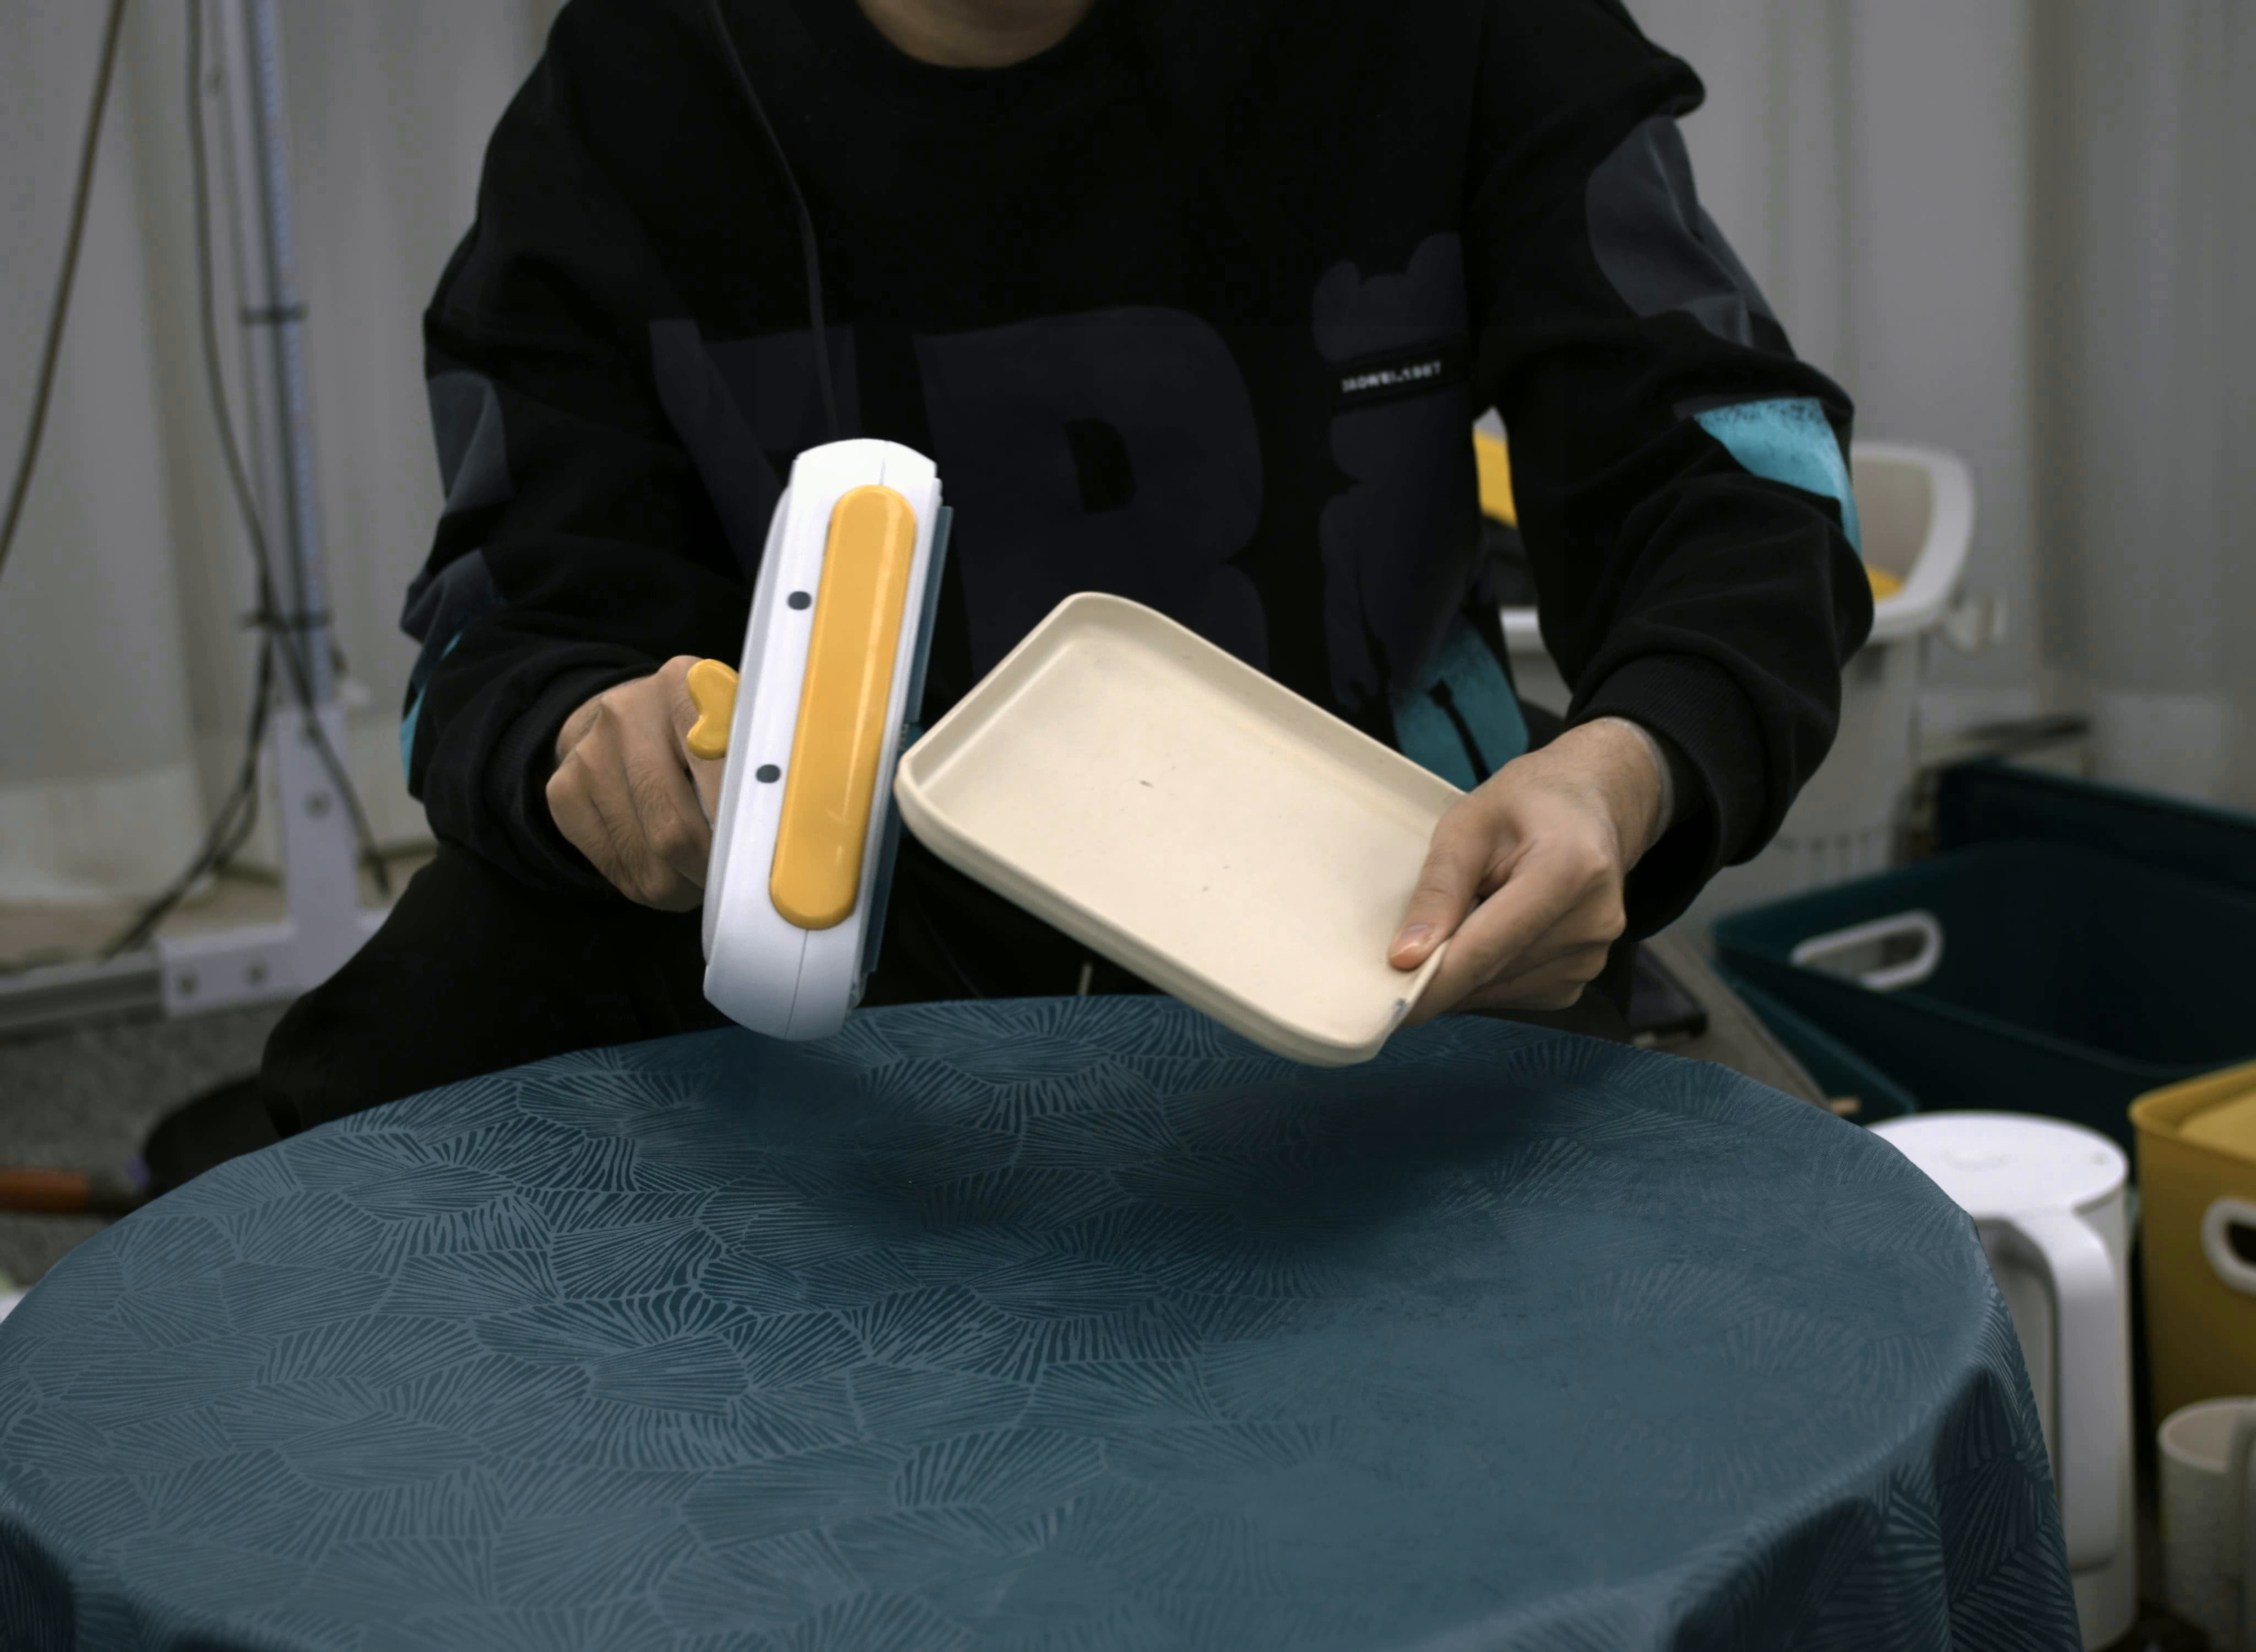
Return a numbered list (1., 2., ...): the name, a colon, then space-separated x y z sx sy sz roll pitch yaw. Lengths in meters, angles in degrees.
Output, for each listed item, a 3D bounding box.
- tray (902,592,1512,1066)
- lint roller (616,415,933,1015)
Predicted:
1. tray: 0.027 -0.001 1.716 0.171 0.017 0.241 30 22 5
2. lint roller: -0.118 -0.016 1.756 0.074 0.195 0.191 8 -23 -14
